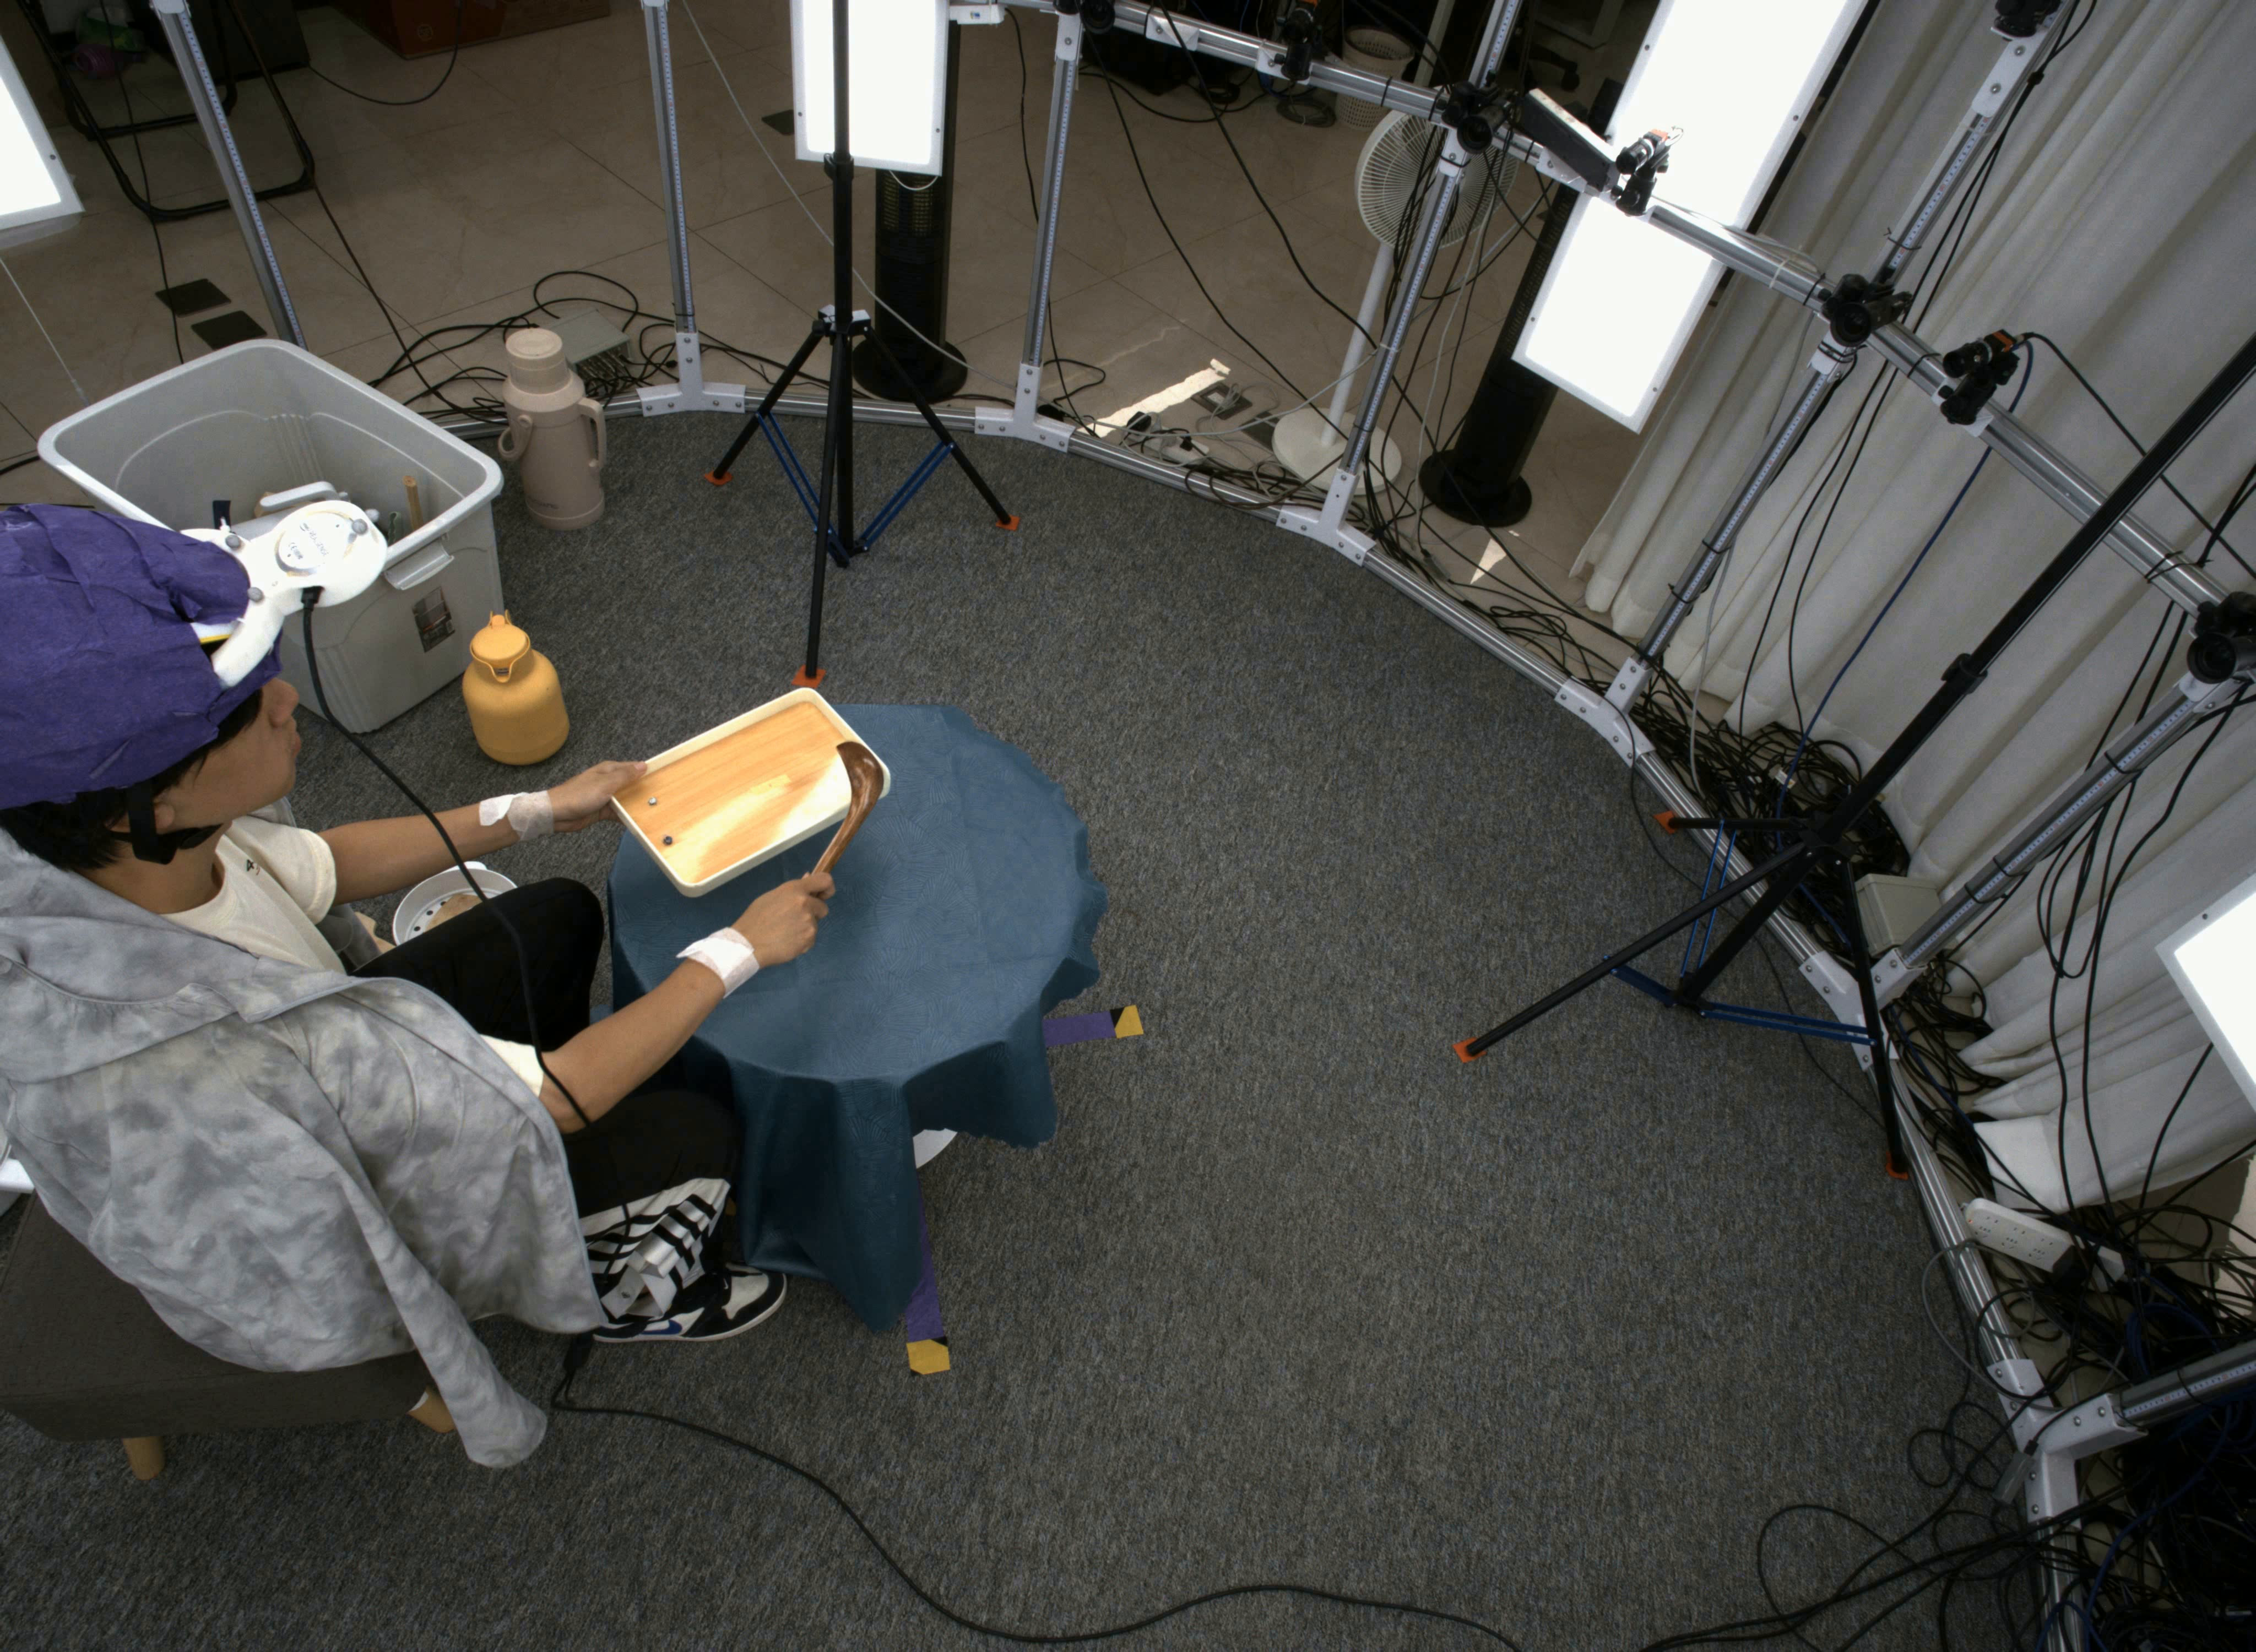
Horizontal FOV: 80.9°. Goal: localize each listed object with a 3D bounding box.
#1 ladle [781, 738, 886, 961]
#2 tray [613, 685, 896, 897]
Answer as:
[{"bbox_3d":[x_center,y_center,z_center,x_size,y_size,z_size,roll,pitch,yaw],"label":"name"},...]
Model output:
[{"bbox_3d":[-0.357,0.021,1.506,0.074,0.085,0.273,11,66,31],"label":"ladle"},{"bbox_3d":[-0.454,-0.050,1.577,0.301,0.028,0.187,-32,69,-34],"label":"tray"}]
